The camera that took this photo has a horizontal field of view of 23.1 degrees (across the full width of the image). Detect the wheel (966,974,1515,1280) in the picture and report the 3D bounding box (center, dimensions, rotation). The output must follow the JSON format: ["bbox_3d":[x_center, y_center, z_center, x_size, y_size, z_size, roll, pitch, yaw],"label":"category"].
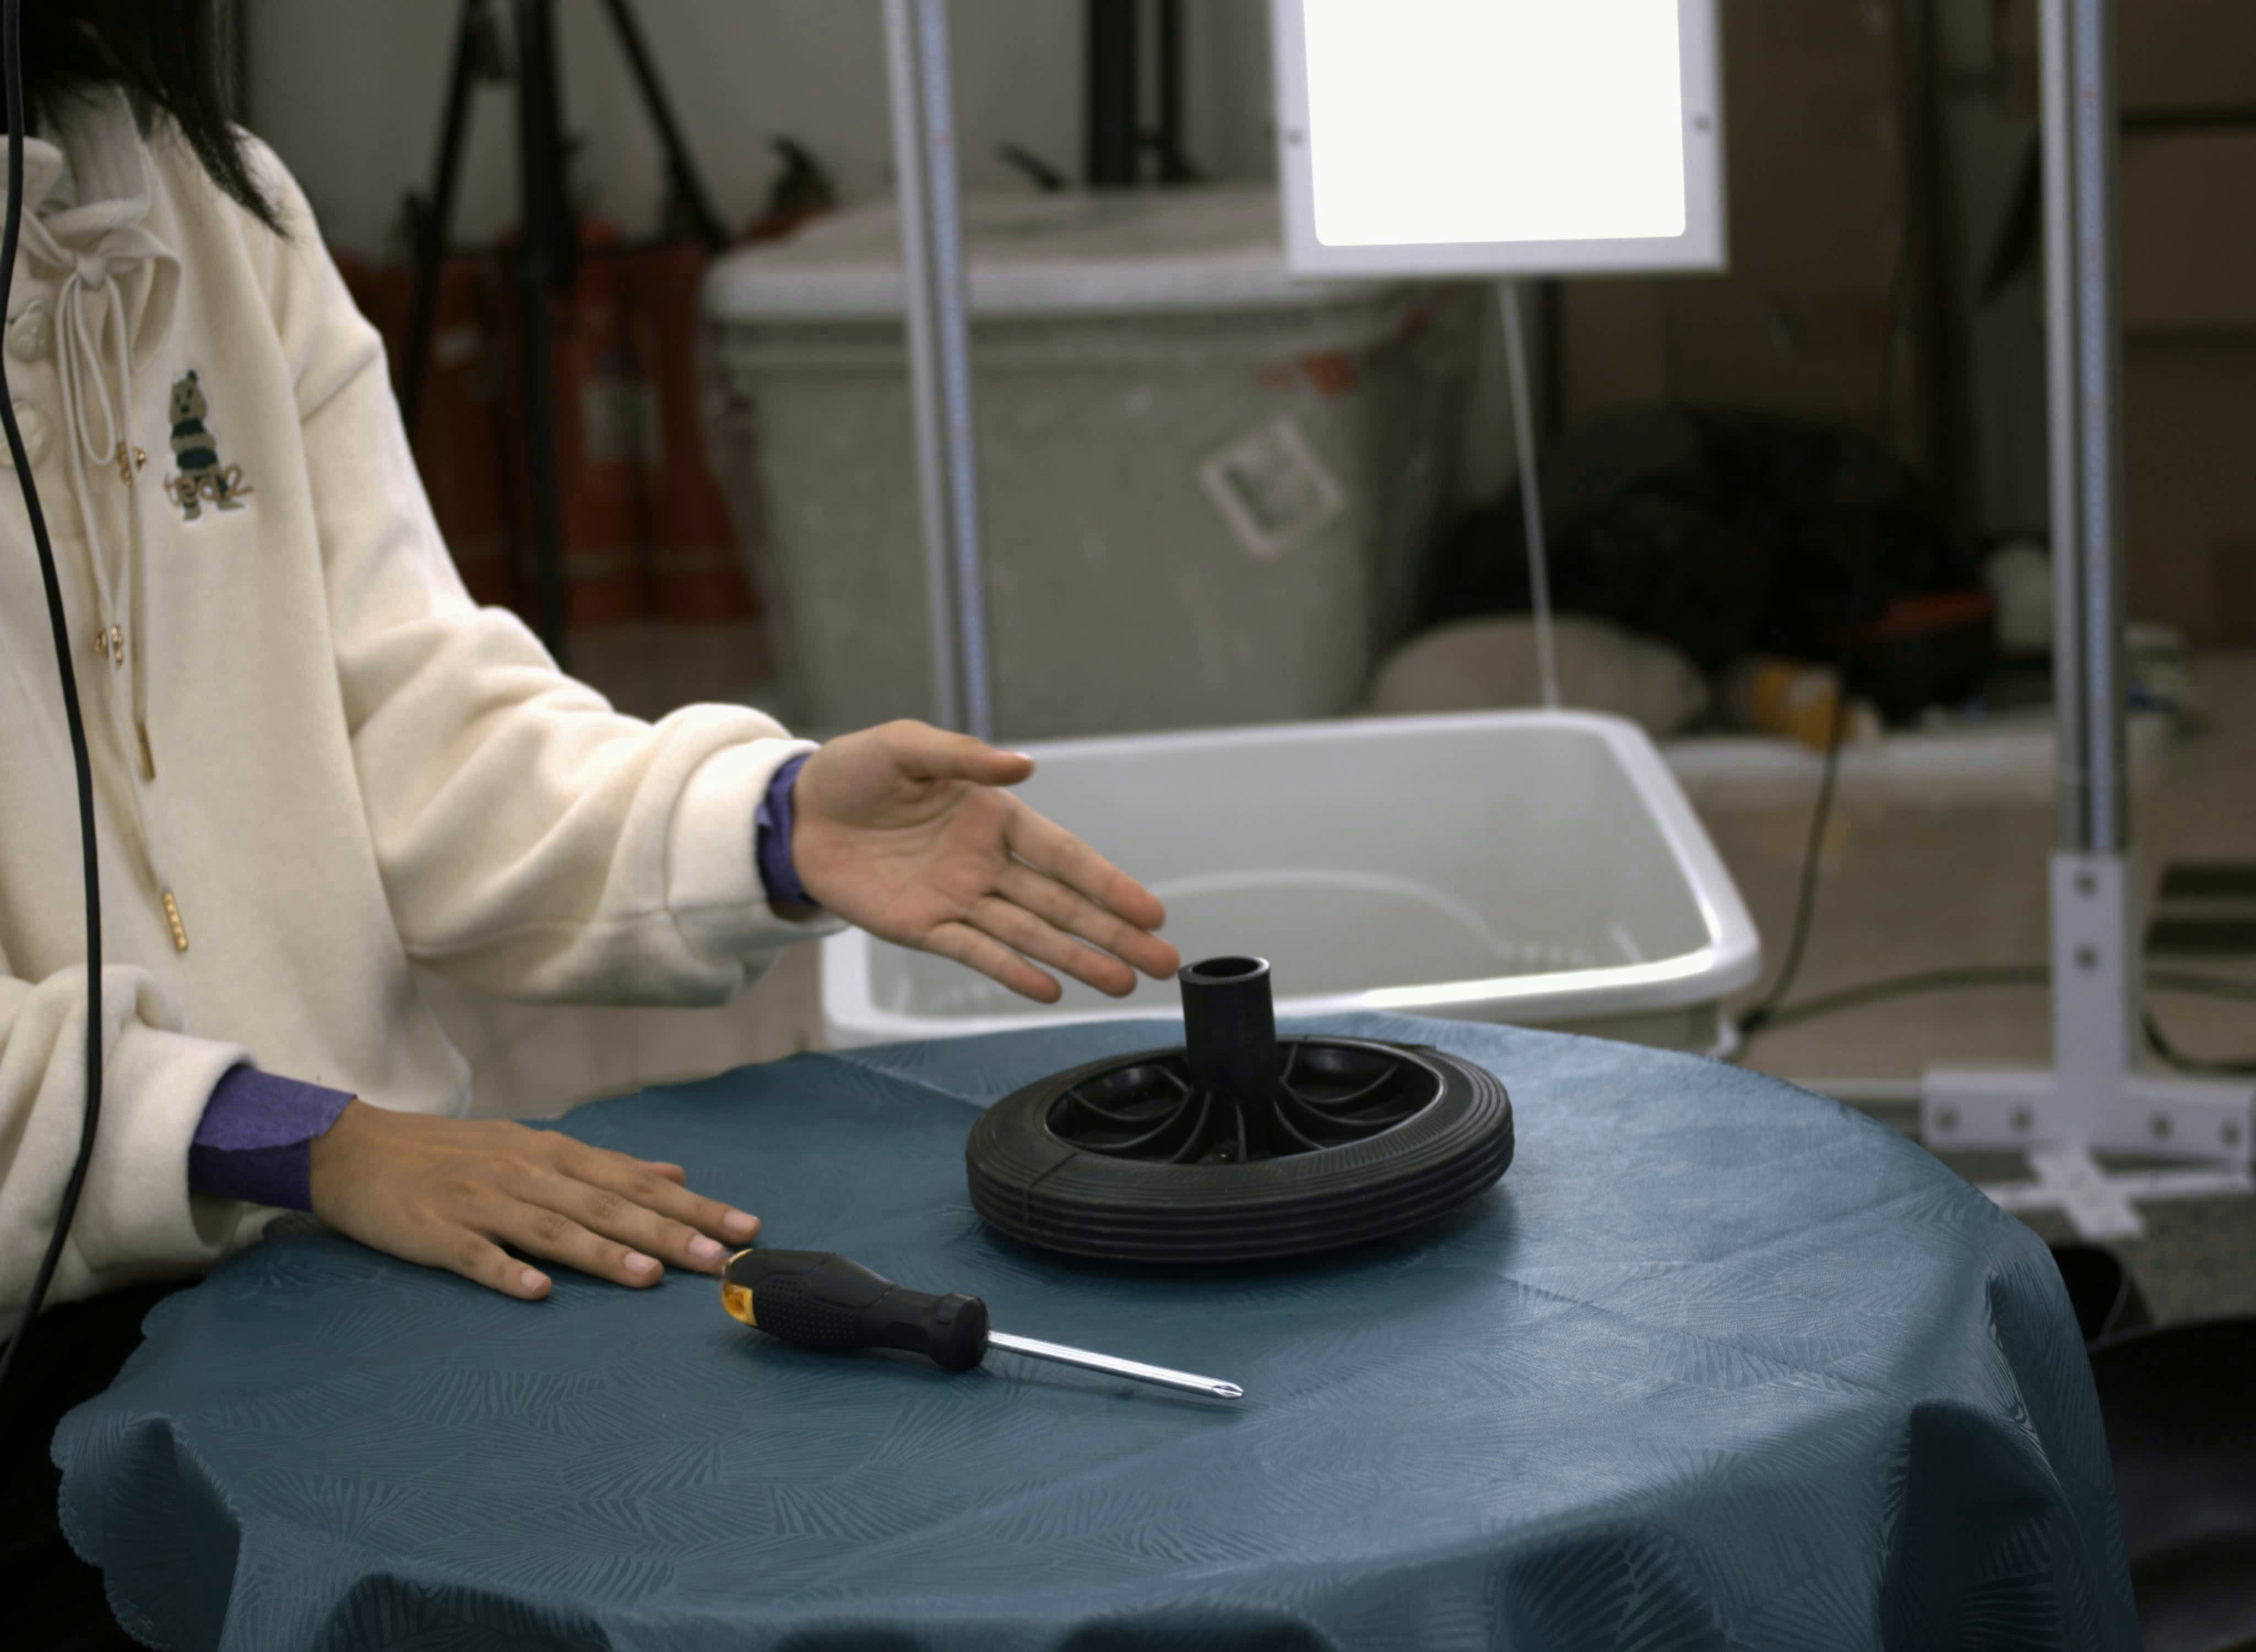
[{"bbox_3d":[0.036,0.092,1.869,0.186,0.079,0.190,-7,15,-2],"label":"wheel"}]

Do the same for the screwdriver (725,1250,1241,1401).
[{"bbox_3d":[-0.044,0.158,1.733,0.200,0.031,0.031,6,17,33],"label":"screwdriver"}]
